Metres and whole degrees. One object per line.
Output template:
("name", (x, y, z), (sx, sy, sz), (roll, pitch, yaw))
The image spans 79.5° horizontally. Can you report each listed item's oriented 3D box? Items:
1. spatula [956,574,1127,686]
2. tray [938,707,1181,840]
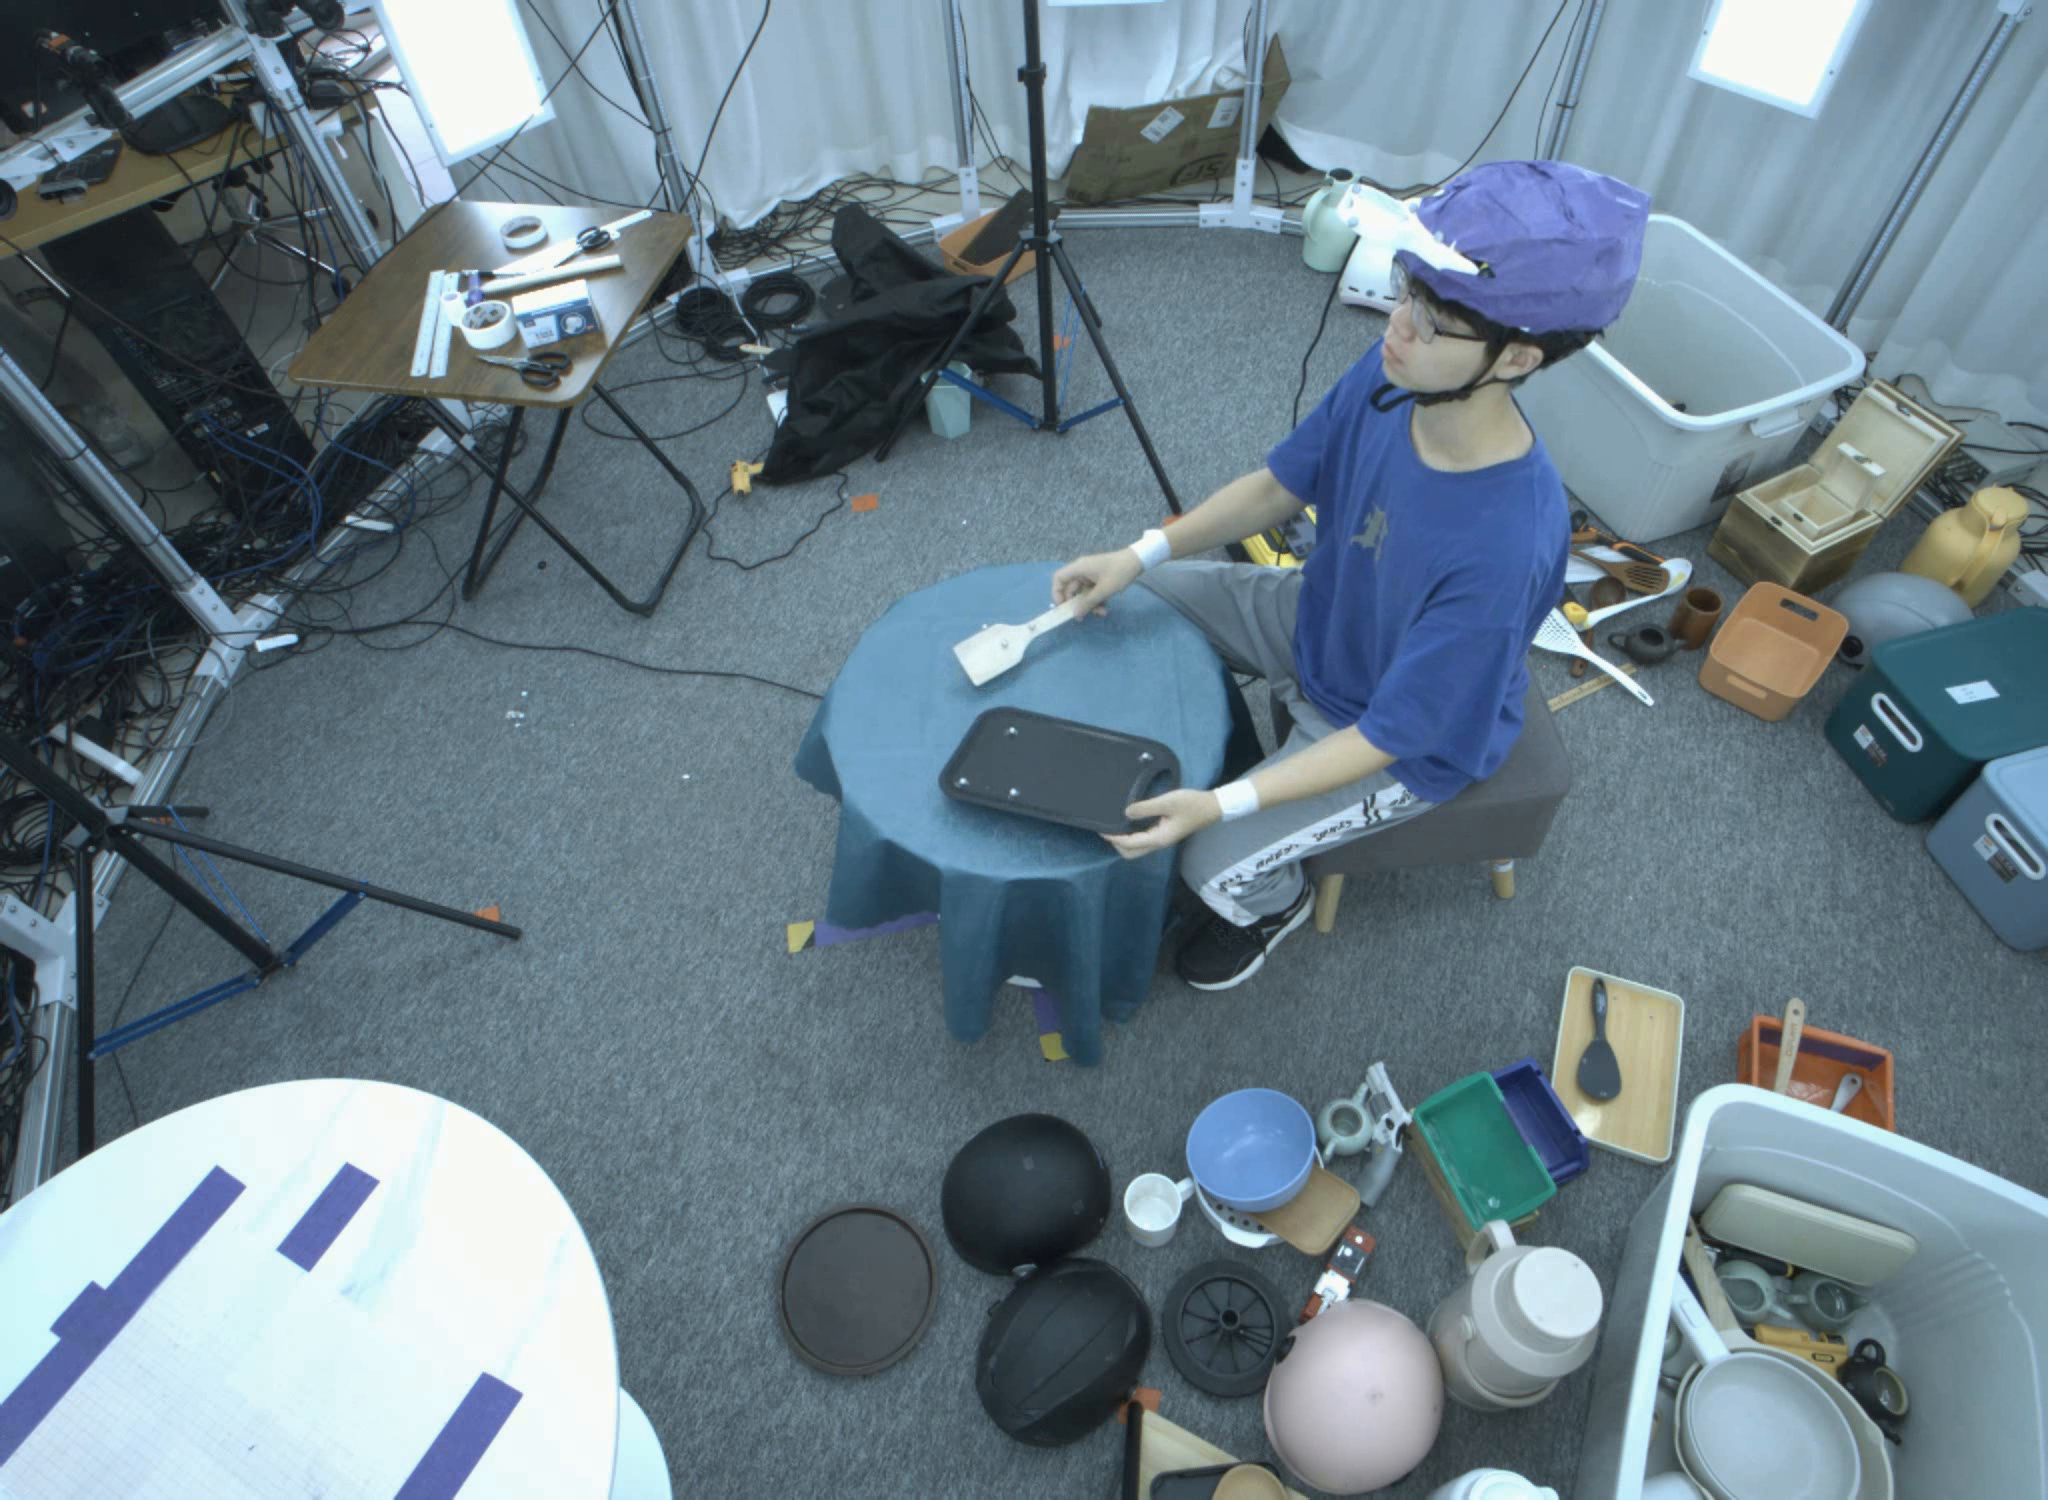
("spatula", (0.033, -0.194, 1.867), (0.295, 0.010, 0.072), (-31, 87, -16))
("tray", (0.056, 0.028, 1.718), (0.321, 0.010, 0.211), (14, 44, 16))
